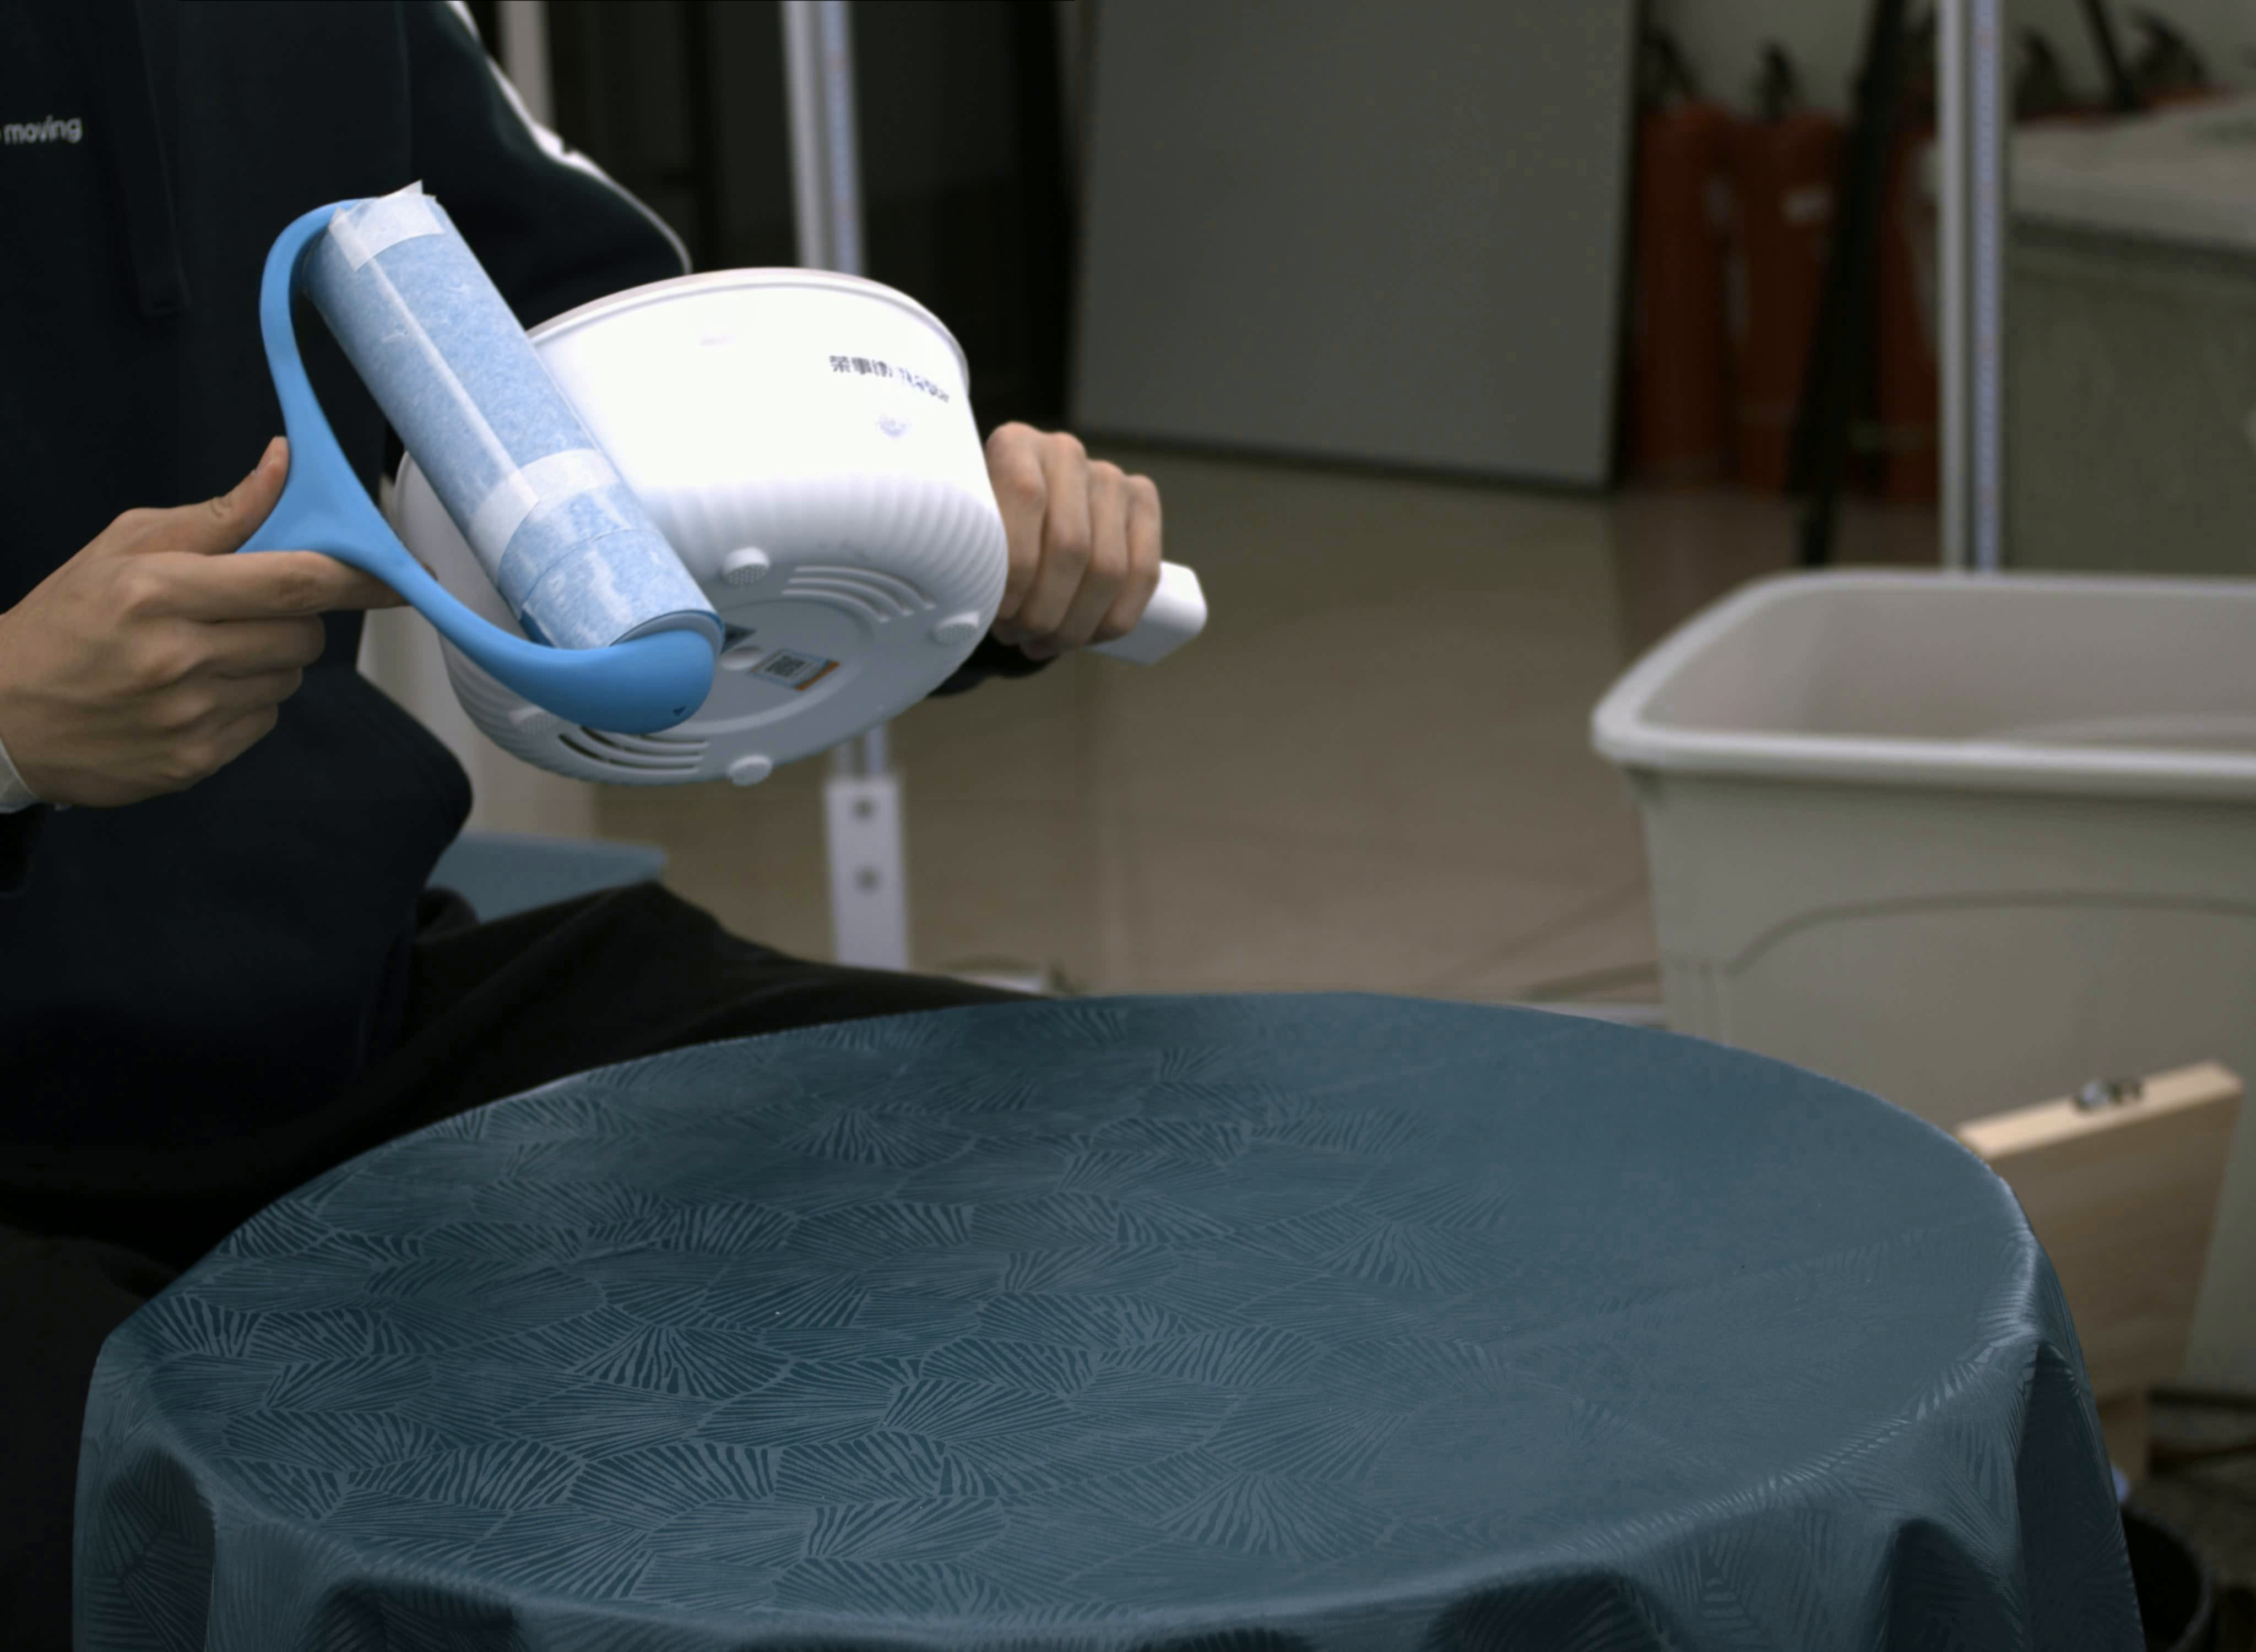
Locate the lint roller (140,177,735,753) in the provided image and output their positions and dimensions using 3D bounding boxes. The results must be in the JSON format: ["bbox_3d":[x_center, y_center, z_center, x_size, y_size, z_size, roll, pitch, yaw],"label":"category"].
[{"bbox_3d":[-0.242,-0.089,1.715,0.179,0.067,0.231,-36,62,-6],"label":"lint roller"}]

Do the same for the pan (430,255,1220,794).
[{"bbox_3d":[-0.088,-0.079,1.881,0.202,0.103,0.347,-35,-32,31],"label":"pan"}]
